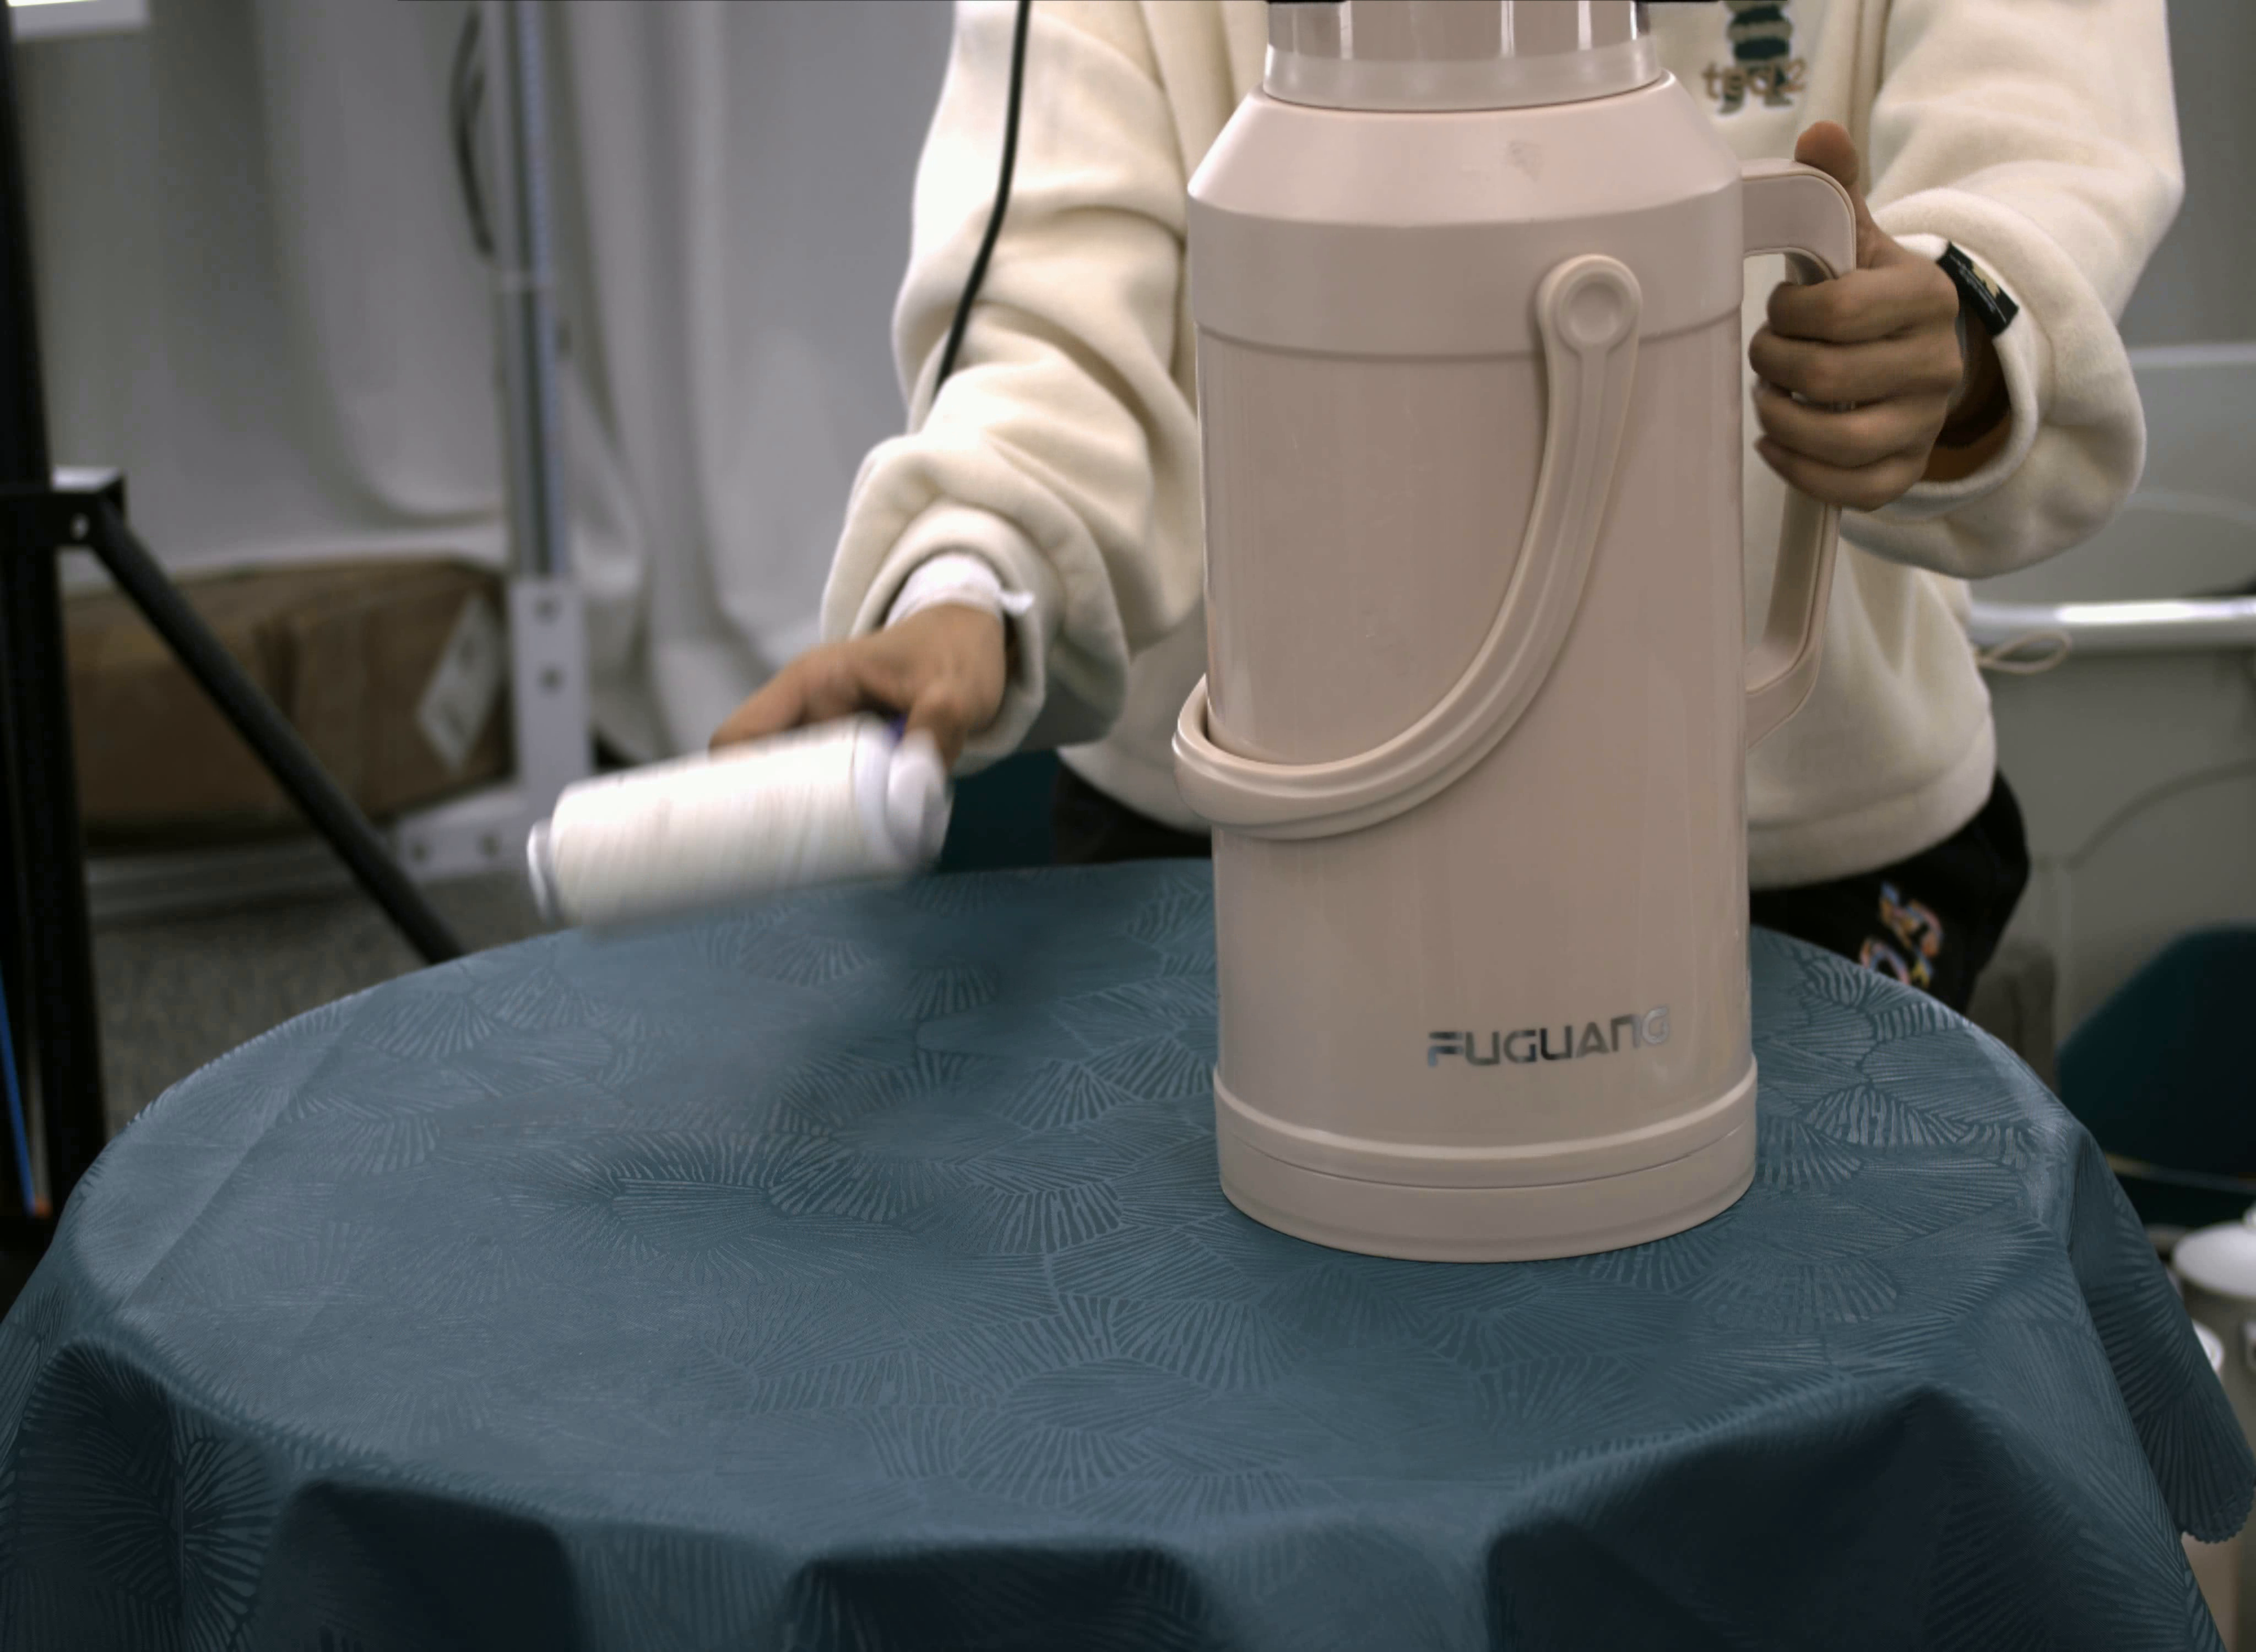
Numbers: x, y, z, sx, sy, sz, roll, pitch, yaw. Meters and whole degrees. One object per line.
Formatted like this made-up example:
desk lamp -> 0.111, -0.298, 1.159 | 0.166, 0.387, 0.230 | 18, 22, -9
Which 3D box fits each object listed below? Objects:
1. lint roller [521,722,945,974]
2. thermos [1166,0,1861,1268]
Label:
lint roller -> -0.101, -0.011, 1.656 | 0.134, 0.050, 0.179 | -10, 21, 23
thermos -> 0.111, -0.090, 1.513 | 0.203, 0.406, 0.178 | -7, 15, -18
